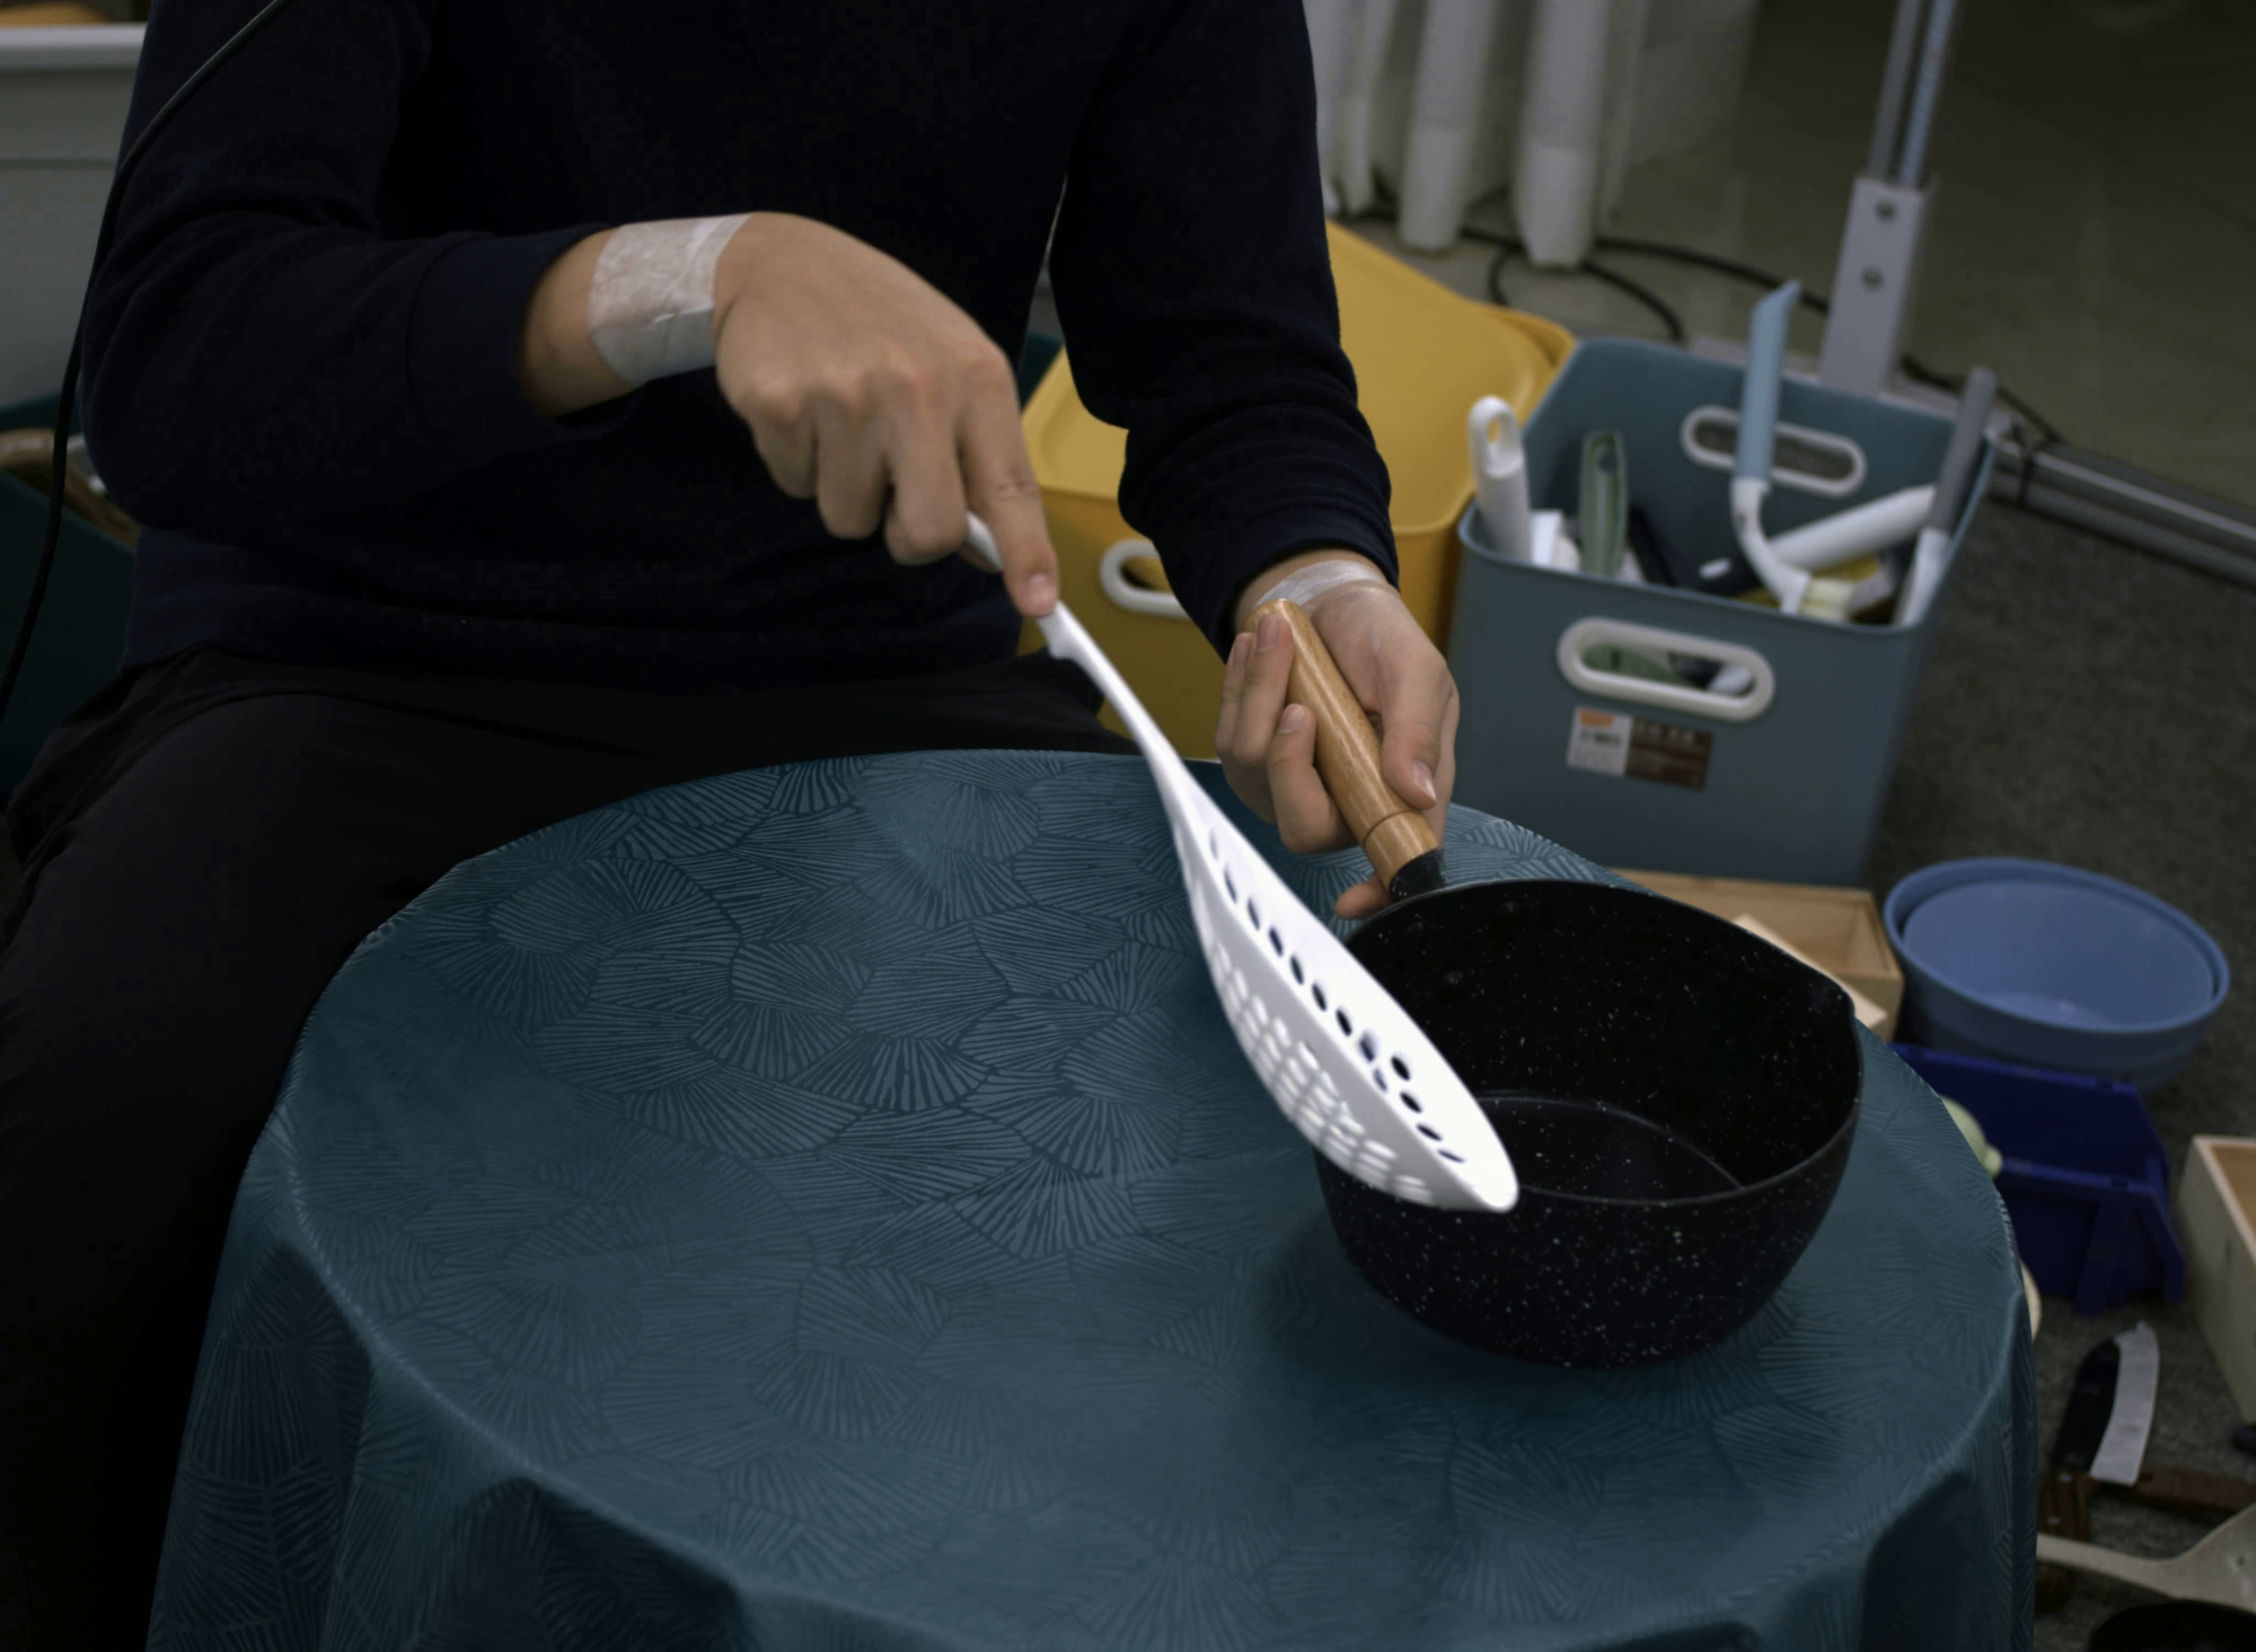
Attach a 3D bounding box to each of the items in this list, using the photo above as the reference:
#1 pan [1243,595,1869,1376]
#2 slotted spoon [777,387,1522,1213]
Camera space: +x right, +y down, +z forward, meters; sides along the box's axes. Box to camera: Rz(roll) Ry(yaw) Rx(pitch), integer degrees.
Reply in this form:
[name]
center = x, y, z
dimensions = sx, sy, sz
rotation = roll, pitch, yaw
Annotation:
[pan]
center = 0.114, 0.052, 1.823
dimensions = 0.206, 0.108, 0.346
rotation = -11, 38, -24
[slotted spoon]
center = 0.004, -0.011, 1.670
dimensions = 0.349, 0.050, 0.136
rotation = 56, 12, 13
